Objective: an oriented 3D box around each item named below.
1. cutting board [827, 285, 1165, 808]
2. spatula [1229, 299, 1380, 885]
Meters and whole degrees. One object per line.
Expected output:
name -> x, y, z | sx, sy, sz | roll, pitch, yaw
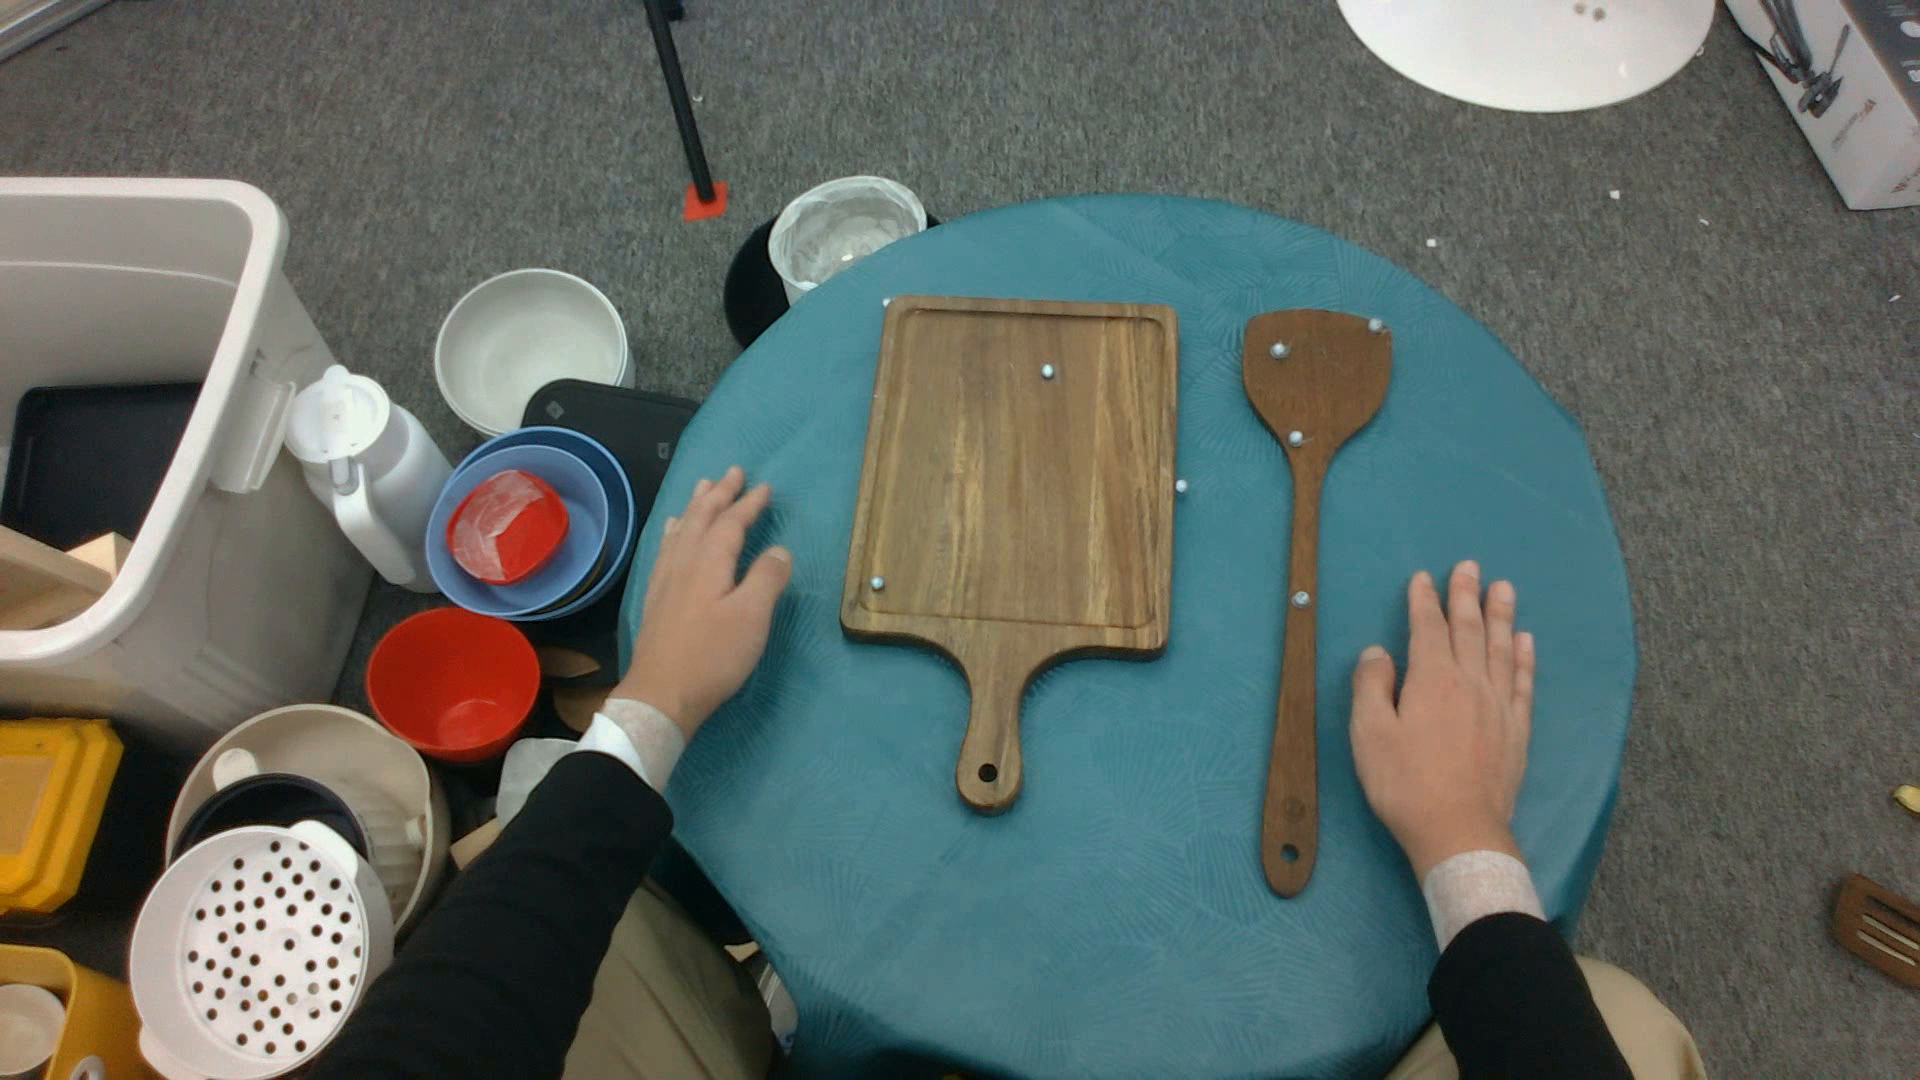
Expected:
cutting board -> 0.024, -0.011, 0.841 | 0.201, 0.023, 0.353 | 3, 62, 5
spatula -> 0.200, 0.013, 0.823 | 0.096, 0.016, 0.387 | 6, 63, 7
